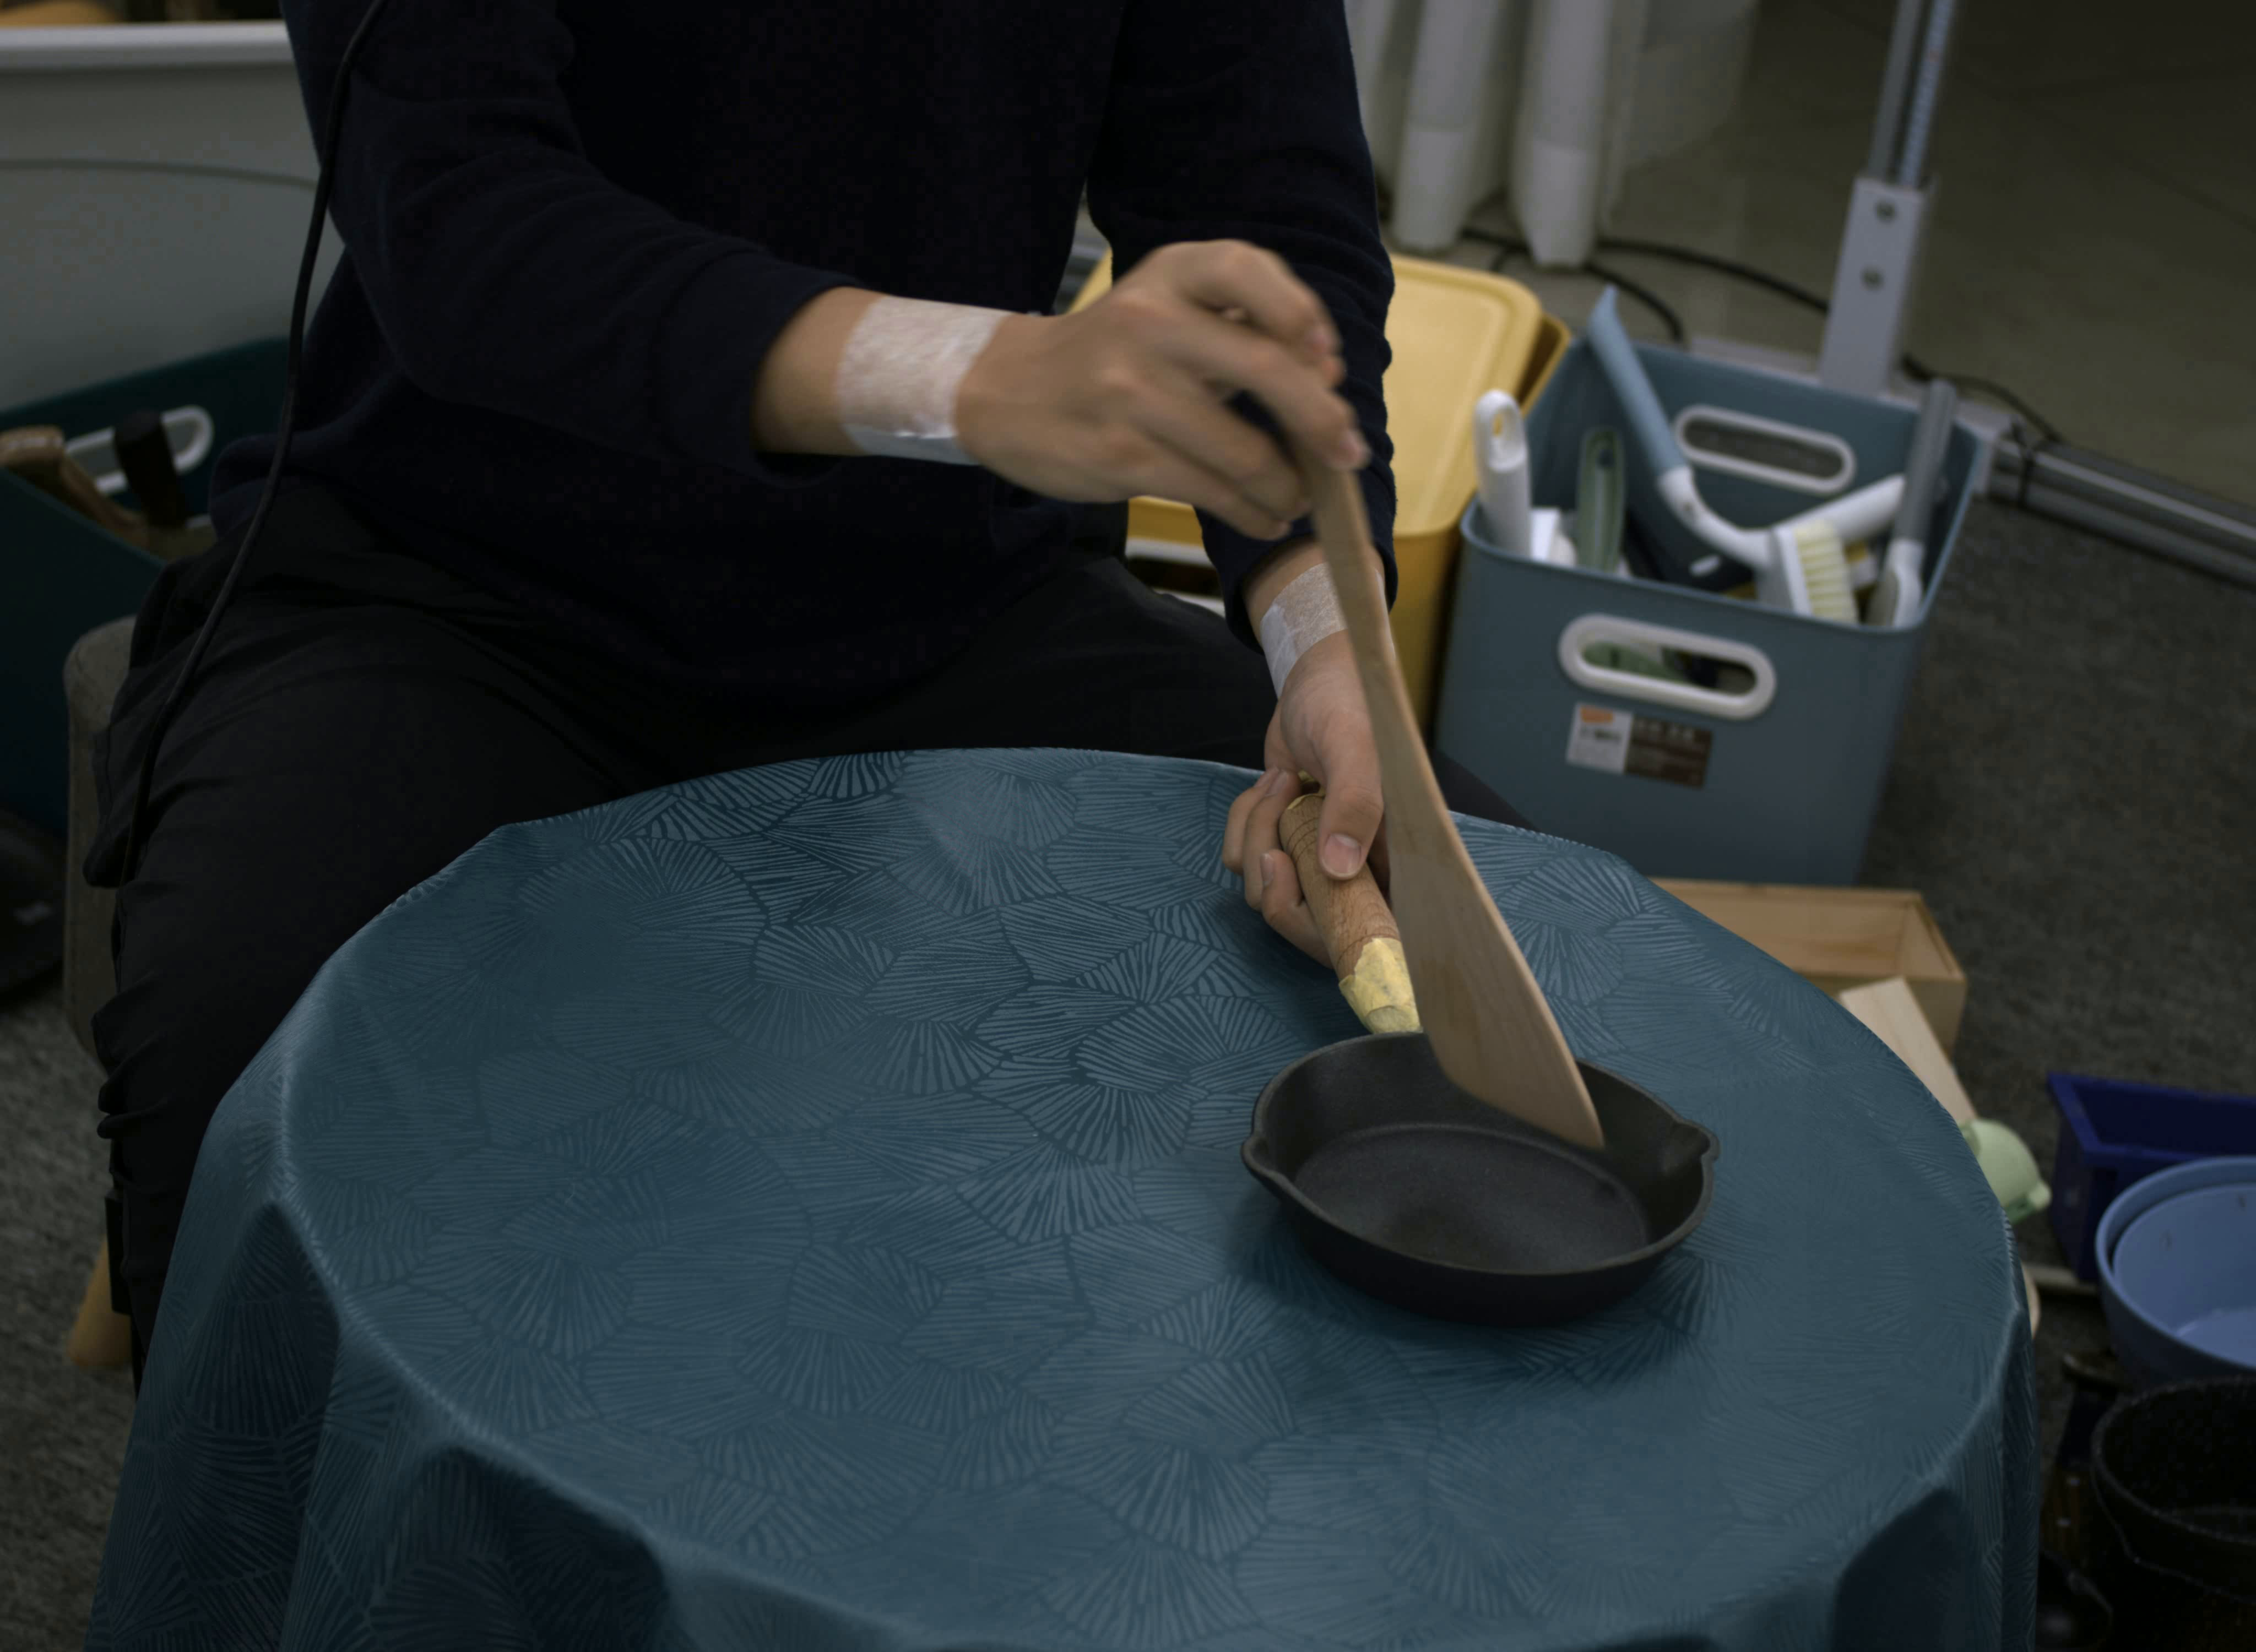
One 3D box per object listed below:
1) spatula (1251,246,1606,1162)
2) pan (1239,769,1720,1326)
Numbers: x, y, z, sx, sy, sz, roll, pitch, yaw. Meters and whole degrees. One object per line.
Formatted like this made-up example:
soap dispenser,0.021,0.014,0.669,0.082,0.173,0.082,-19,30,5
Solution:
spatula,0.091,-0.037,1.747,0.016,0.326,0.080,-28,22,-32
pan,0.100,0.075,1.865,0.168,0.049,0.327,0,29,-14
